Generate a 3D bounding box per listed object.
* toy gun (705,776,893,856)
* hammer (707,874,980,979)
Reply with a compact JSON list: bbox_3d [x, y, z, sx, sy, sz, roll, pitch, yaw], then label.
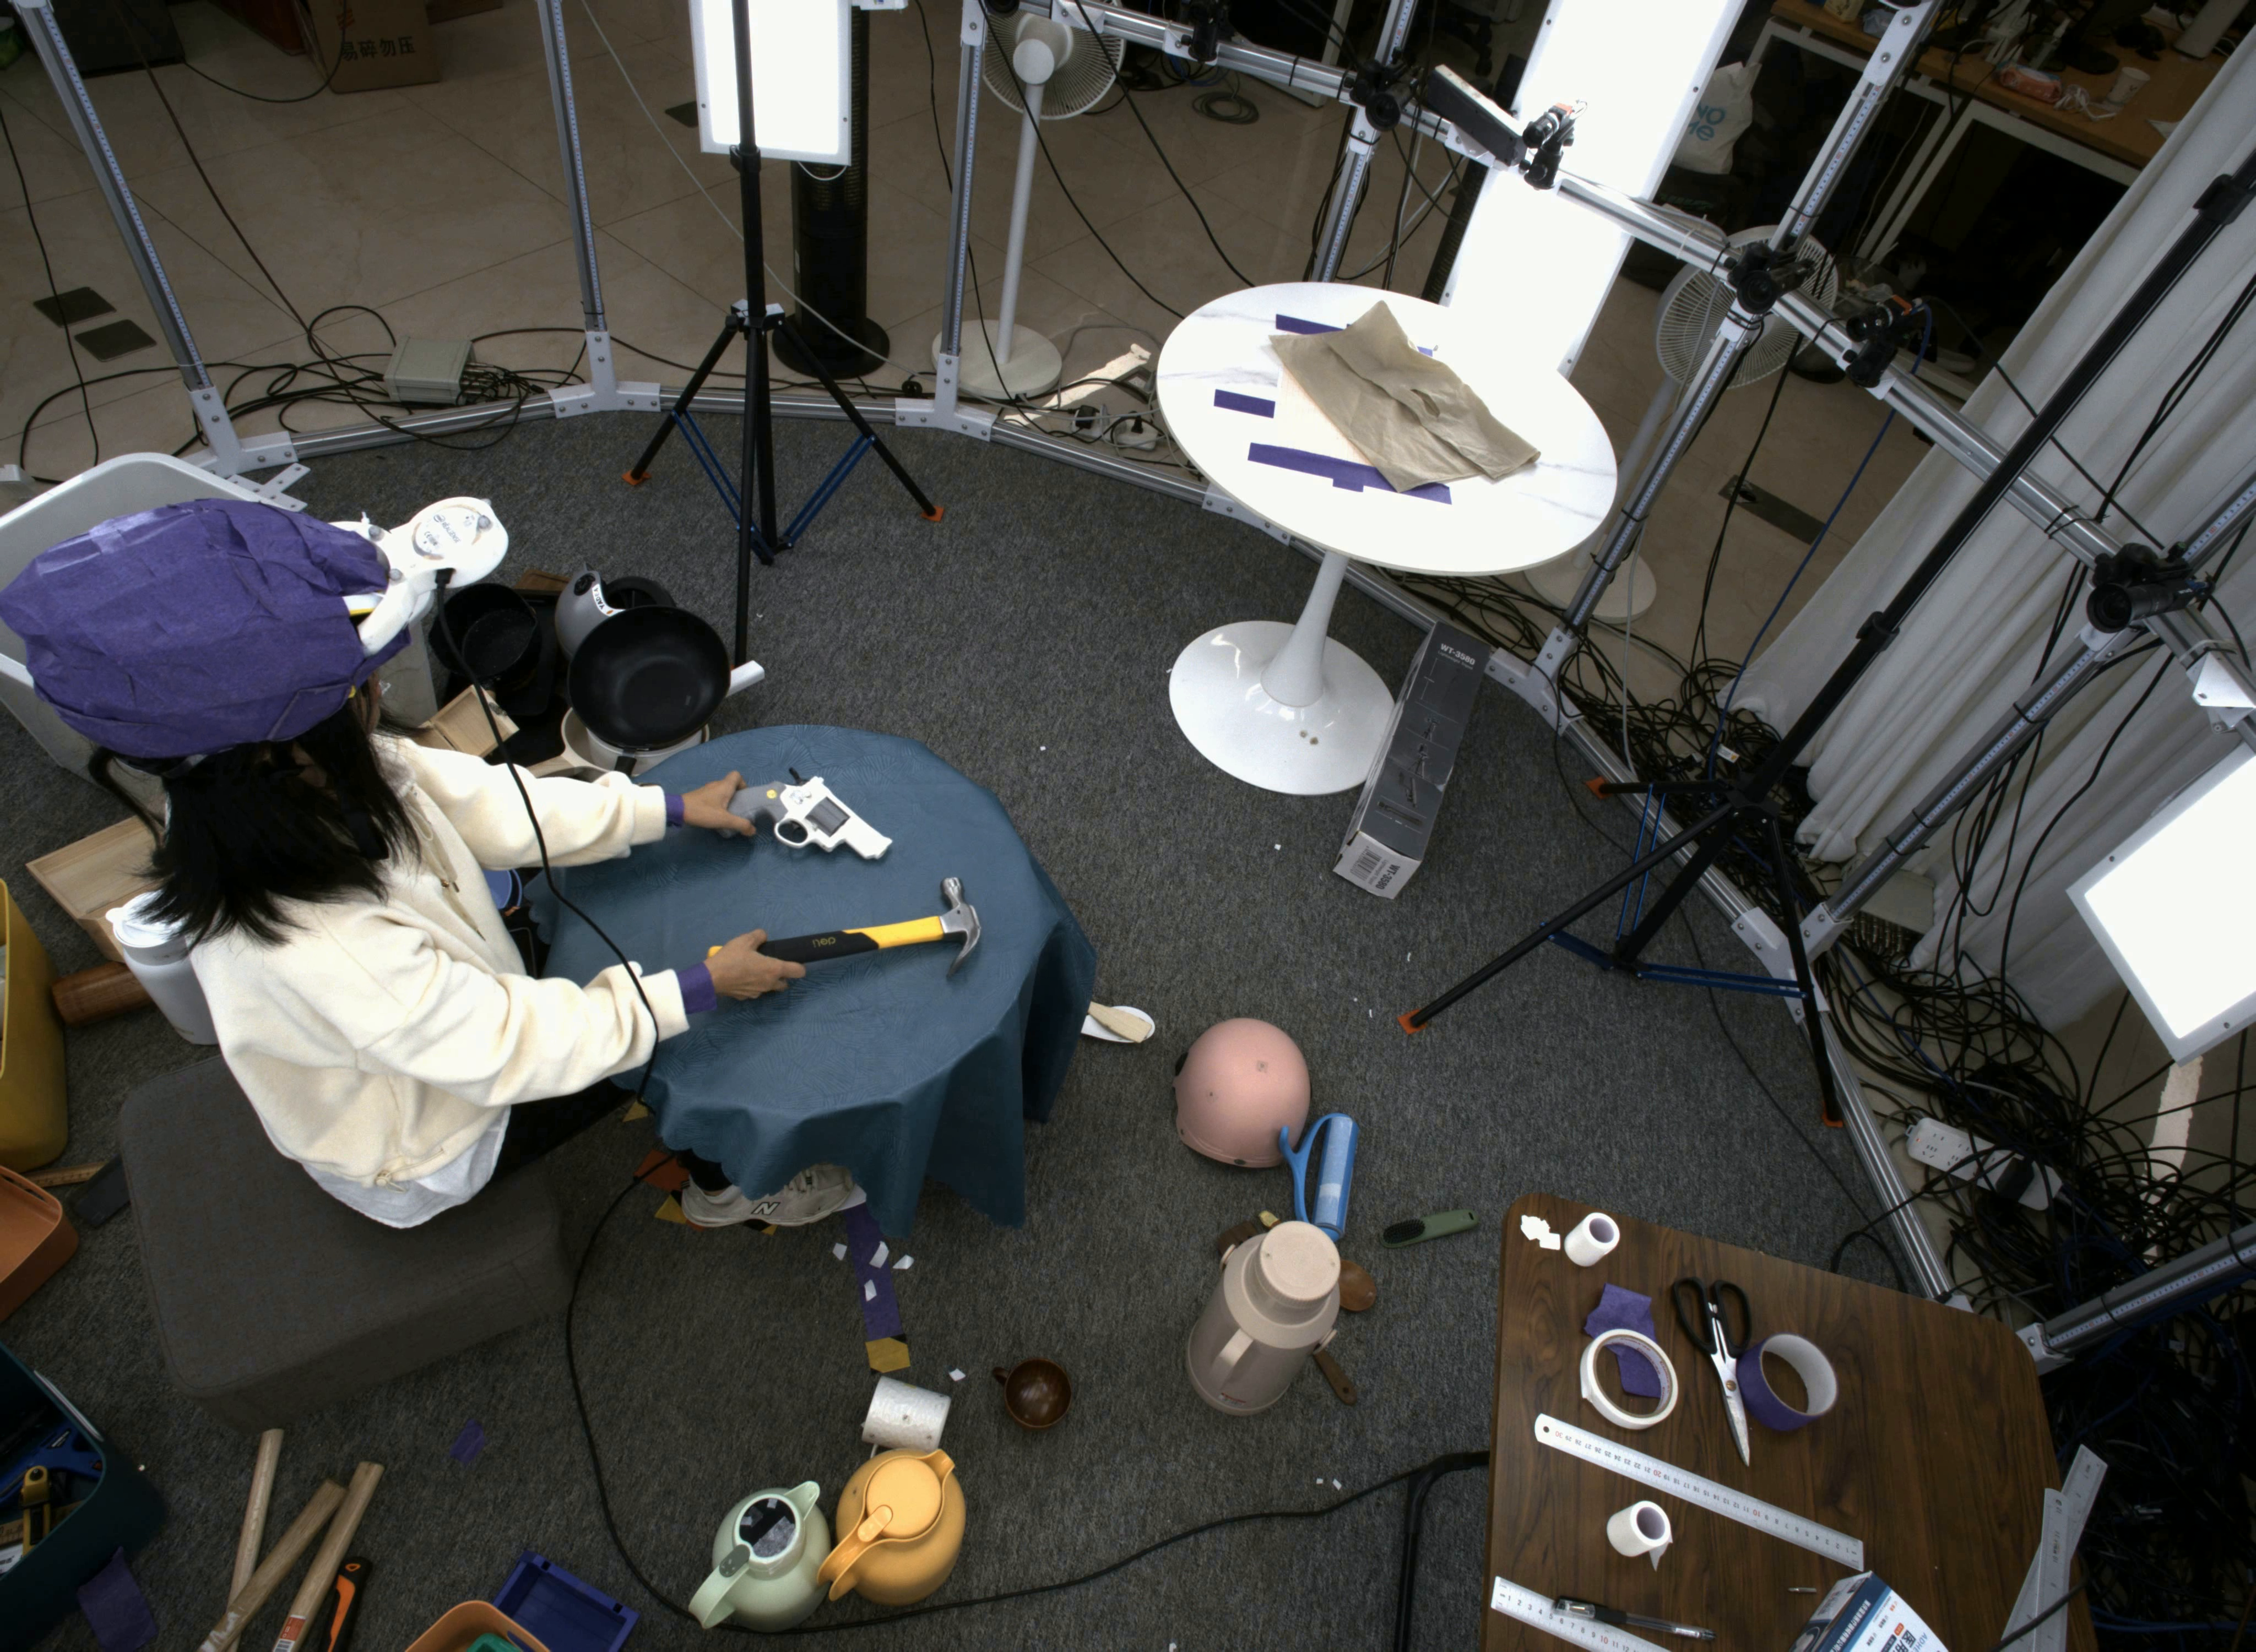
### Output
[{"bbox_3d":[-0.428,0.001,1.685,0.208,0.039,0.141,37,59,0],"label":"toy gun"},{"bbox_3d":[-0.342,0.138,1.589,0.342,0.032,0.128,-7,58,-30],"label":"hammer"}]
